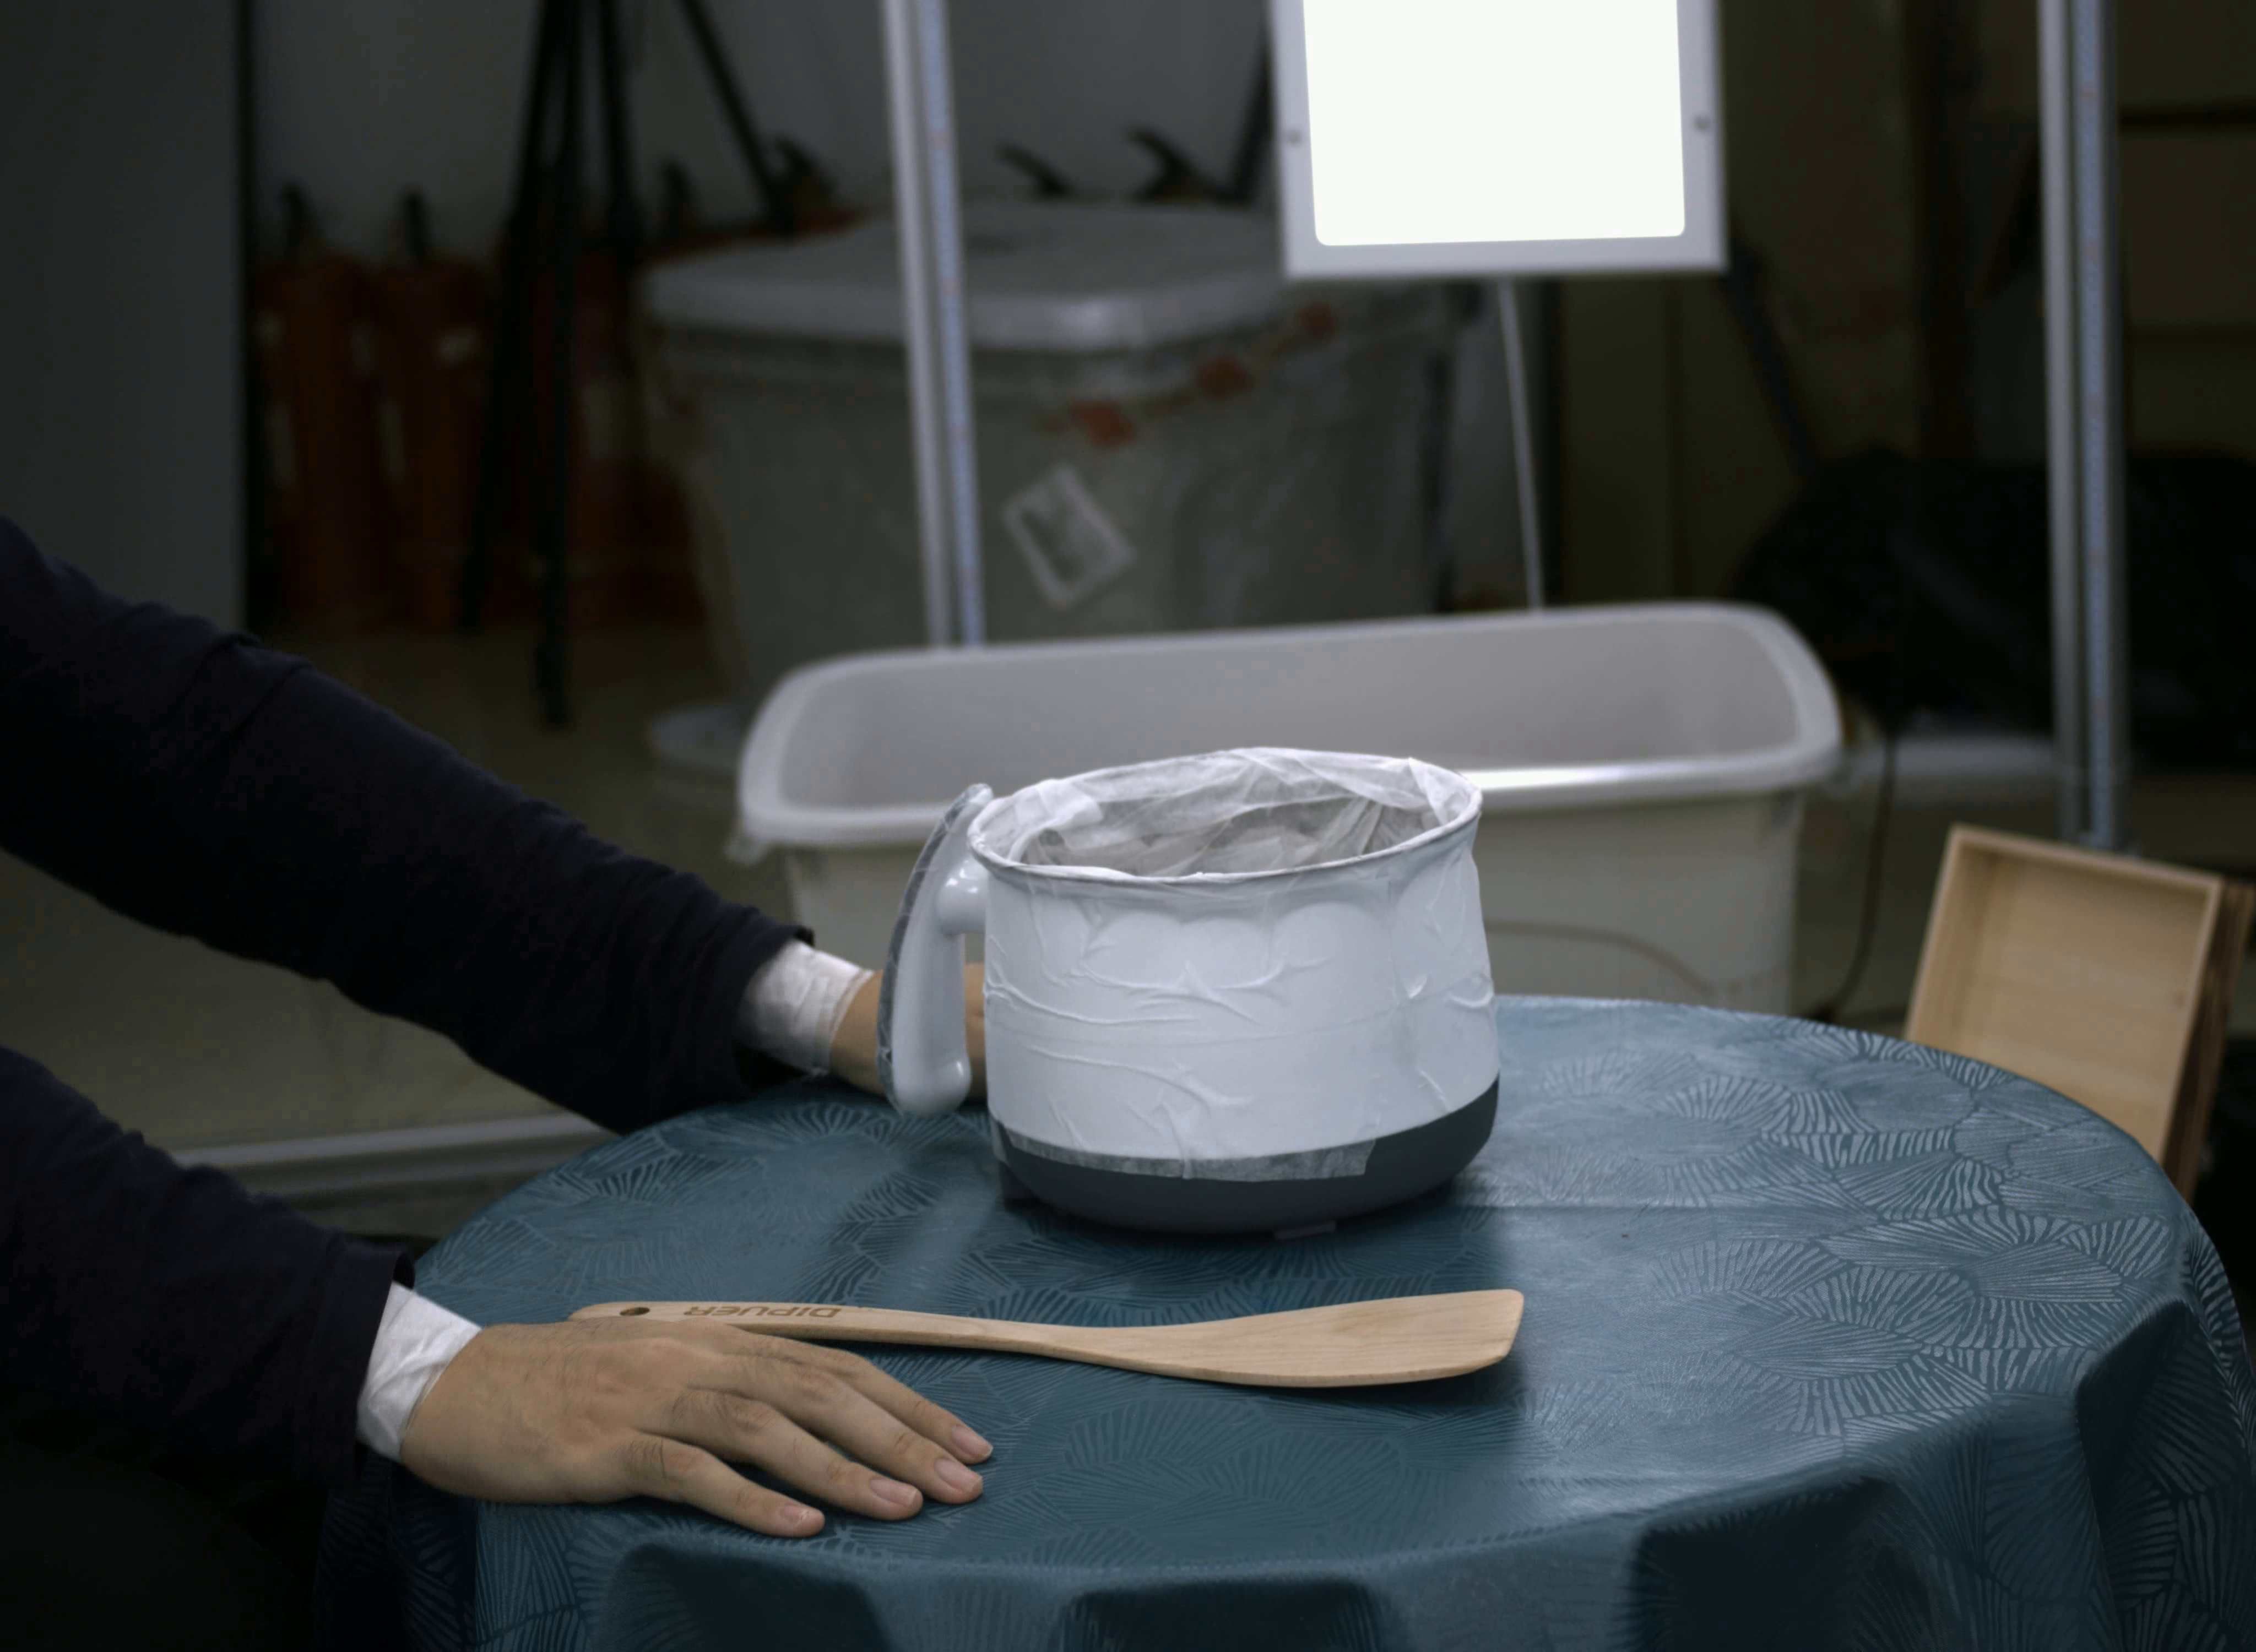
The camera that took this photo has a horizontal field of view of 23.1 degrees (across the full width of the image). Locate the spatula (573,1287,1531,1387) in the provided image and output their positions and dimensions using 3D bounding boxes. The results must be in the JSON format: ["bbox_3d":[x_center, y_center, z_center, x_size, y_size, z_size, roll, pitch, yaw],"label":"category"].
[{"bbox_3d":[-0.026,0.159,1.748,0.332,0.016,0.078,0,14,22],"label":"spatula"}]

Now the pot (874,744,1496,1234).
[{"bbox_3d":[0.014,0.052,1.900,0.238,0.137,0.174,5,15,30],"label":"pot"}]
